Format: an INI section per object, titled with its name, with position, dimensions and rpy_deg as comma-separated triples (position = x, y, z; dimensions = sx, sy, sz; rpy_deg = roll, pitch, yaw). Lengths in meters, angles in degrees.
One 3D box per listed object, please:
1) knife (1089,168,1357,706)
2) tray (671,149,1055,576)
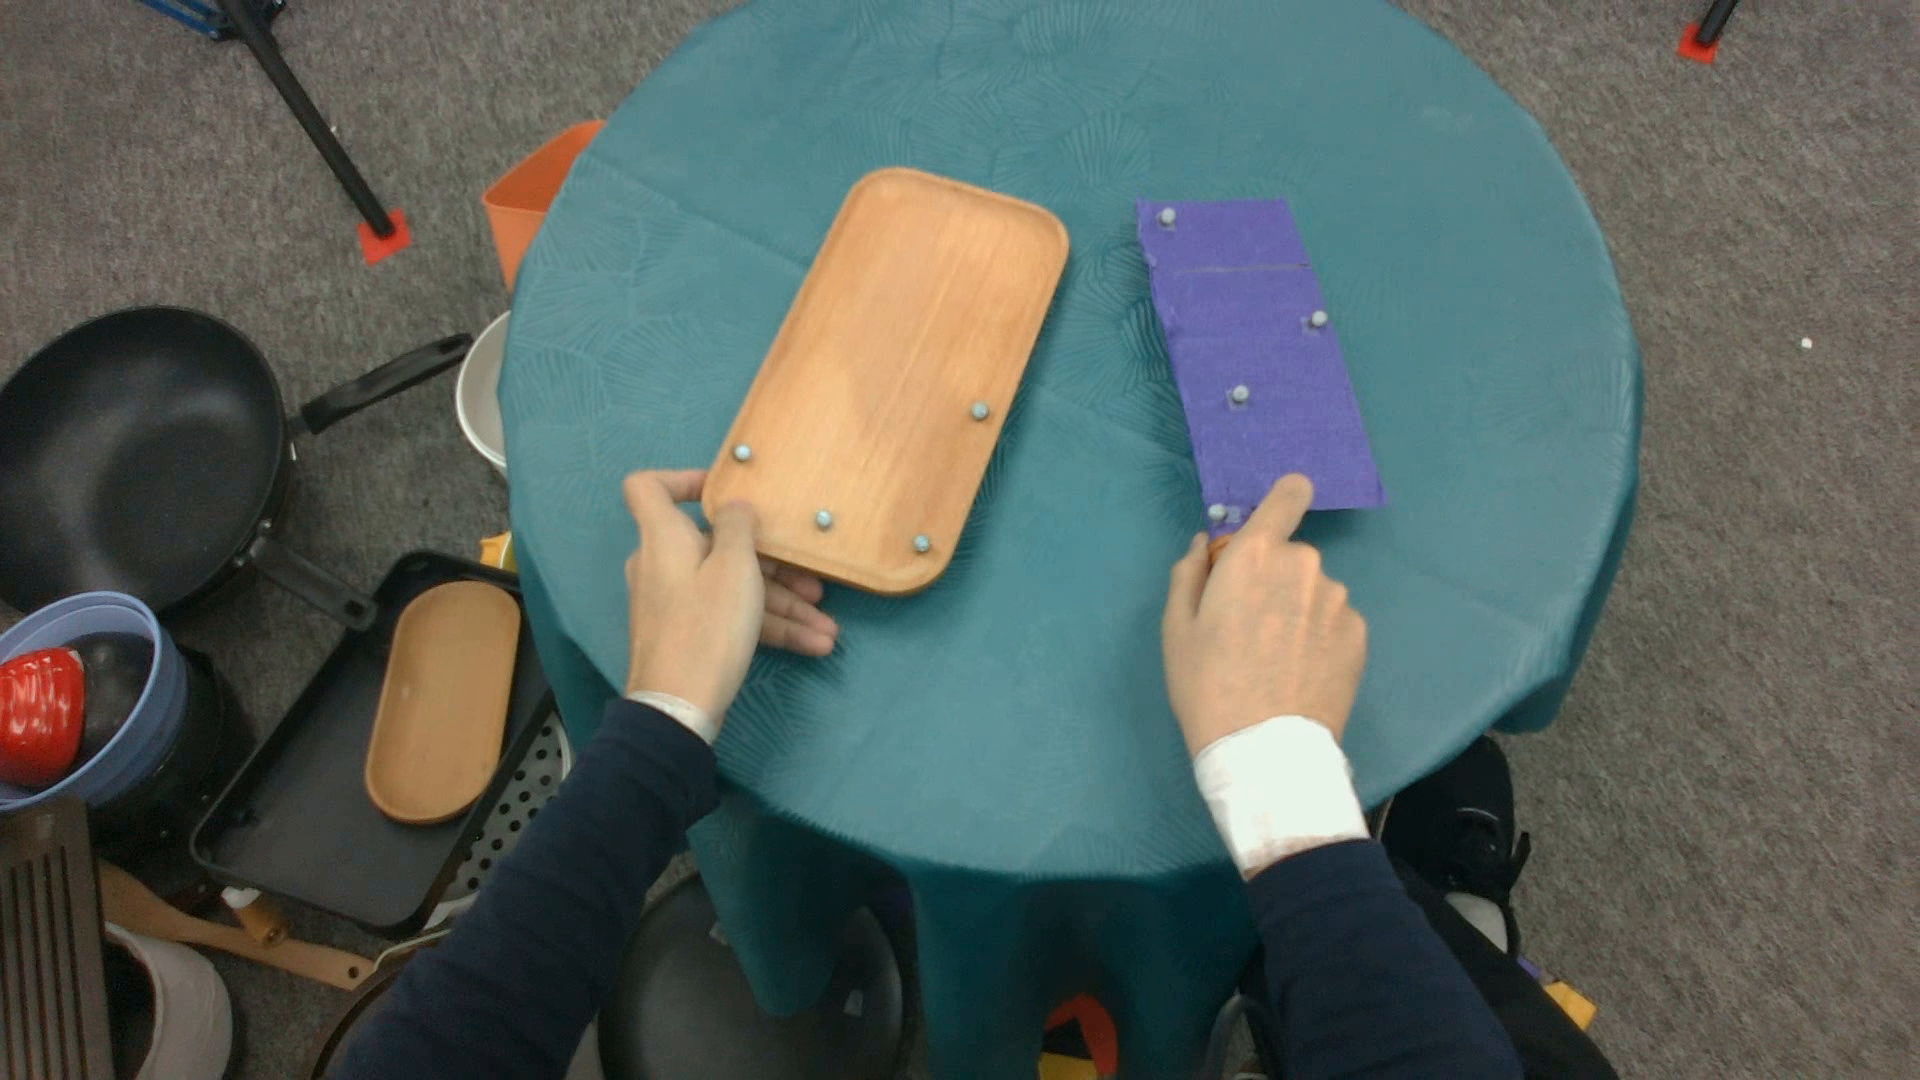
[knife]
position = 0.142, -0.070, 0.678
dimensions = 0.104, 0.032, 0.316
rpy_deg = -3, 60, -10
[tray]
position = -0.044, -0.099, 0.710
dimensions = 0.130, 0.023, 0.252
rpy_deg = 21, 62, 5
